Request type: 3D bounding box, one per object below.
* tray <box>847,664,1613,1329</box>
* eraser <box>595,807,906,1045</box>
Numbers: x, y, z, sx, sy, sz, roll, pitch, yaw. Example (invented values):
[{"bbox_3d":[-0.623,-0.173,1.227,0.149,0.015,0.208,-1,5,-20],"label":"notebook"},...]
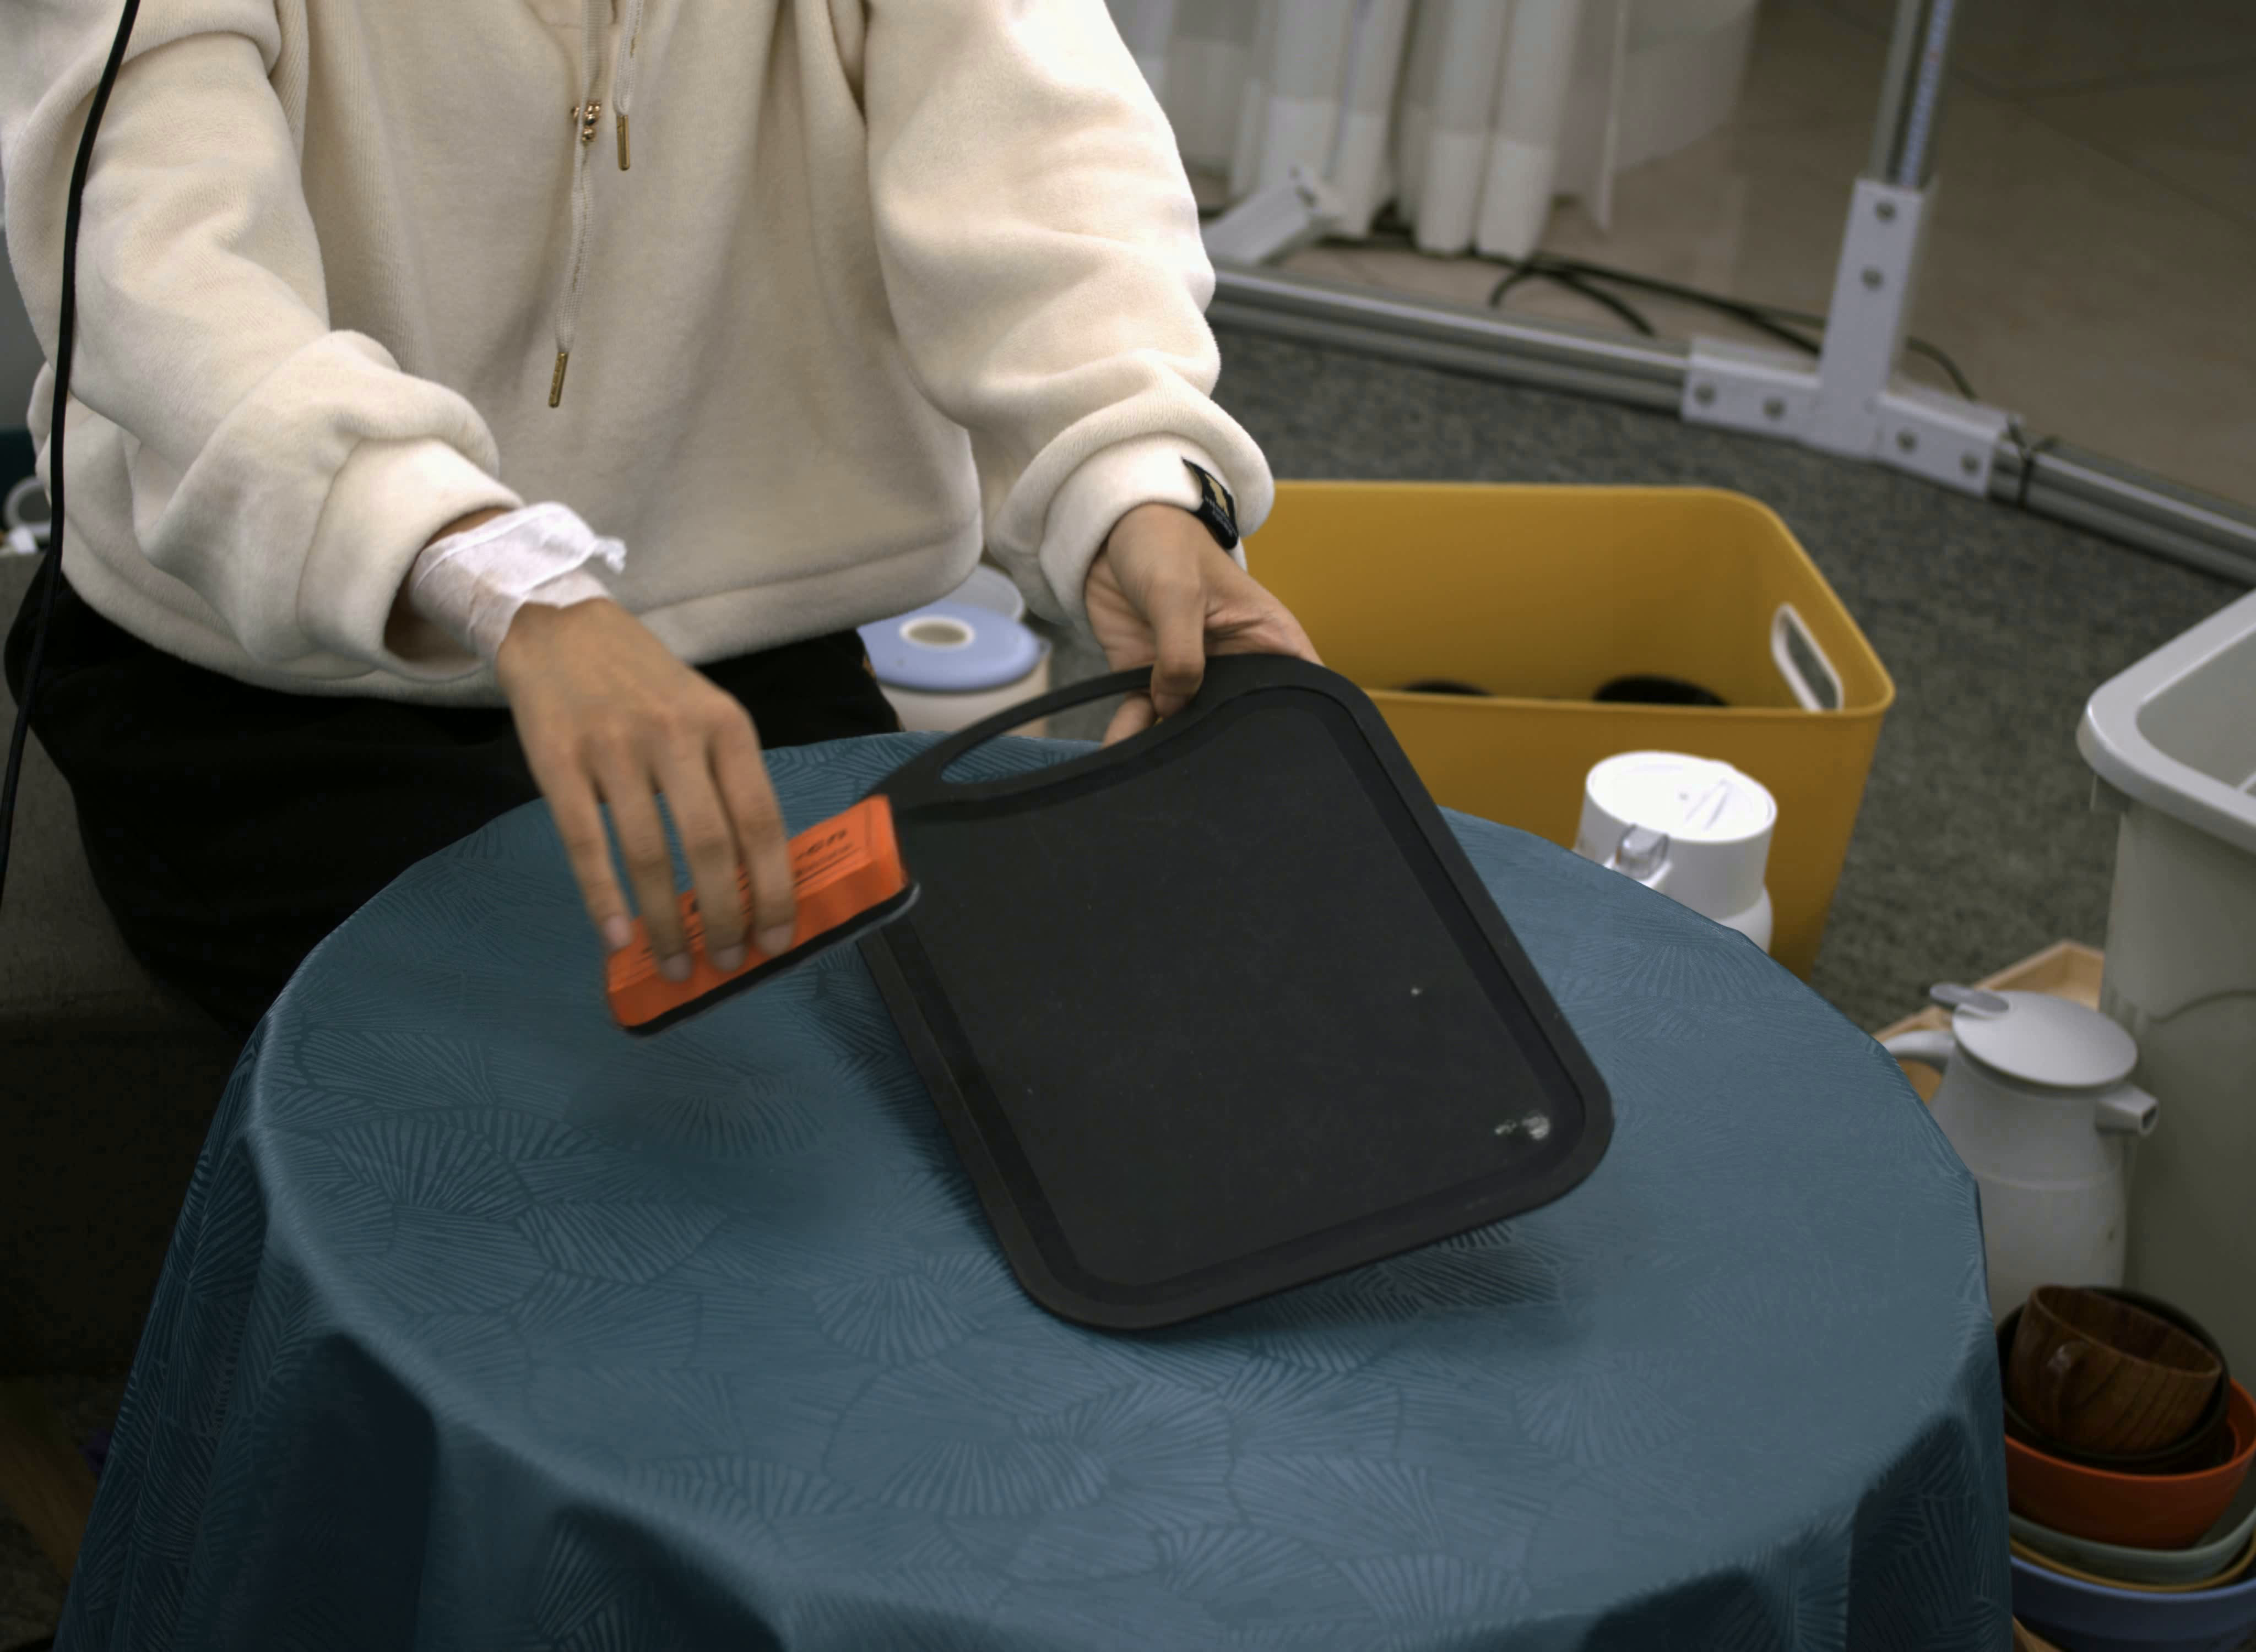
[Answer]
[{"bbox_3d":[0.023,0.047,1.846,0.210,0.010,0.328,-19,40,-8],"label":"tray"},{"bbox_3d":[-0.126,0.034,1.786,0.108,0.023,0.059,-26,22,9],"label":"eraser"}]
